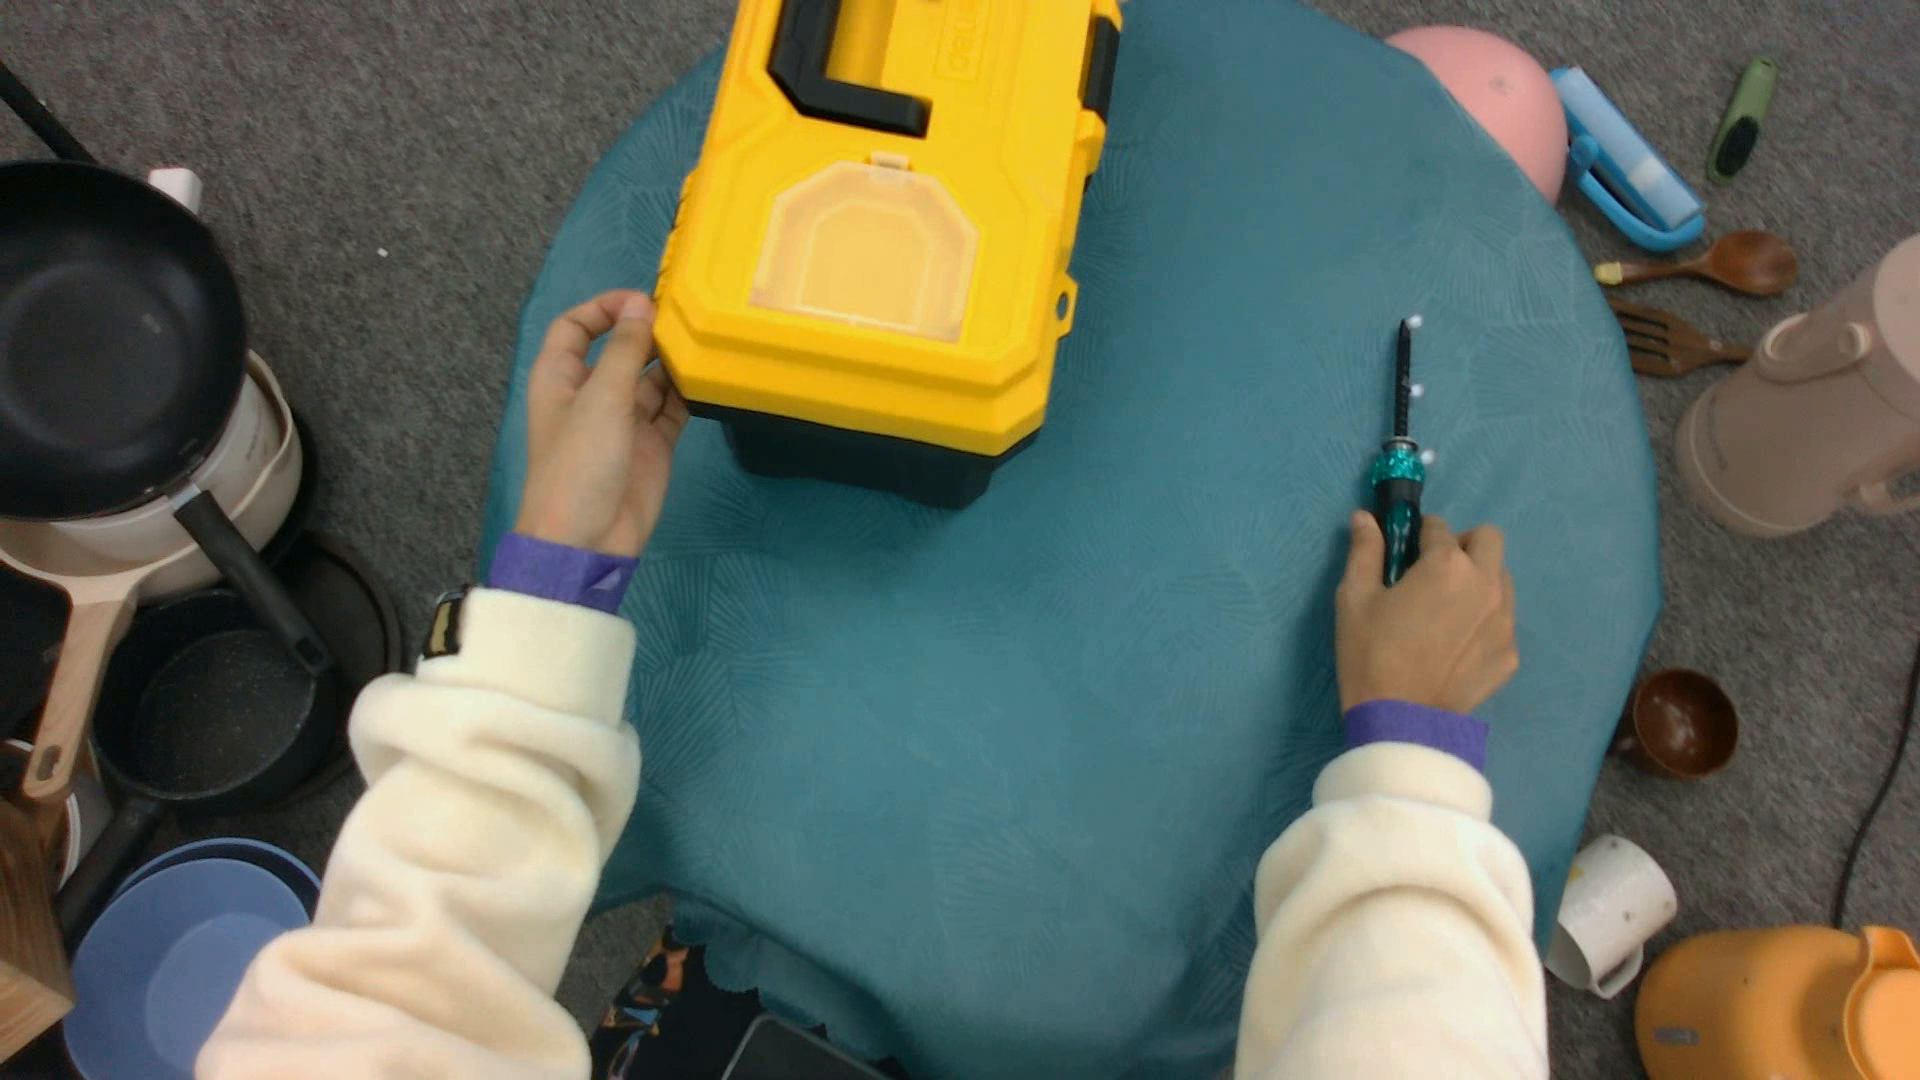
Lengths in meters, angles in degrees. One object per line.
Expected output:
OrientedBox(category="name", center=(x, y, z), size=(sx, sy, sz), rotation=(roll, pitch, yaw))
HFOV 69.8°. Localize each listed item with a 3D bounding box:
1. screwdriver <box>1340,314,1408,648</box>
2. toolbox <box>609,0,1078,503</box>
OrientedBox(category="screwdriver", center=(0.216, -0.036, 0.712), size=(0.034, 0.033, 0.190), rotation=(10, 66, -1))
OrientedBox(category="toolbox", center=(-0.036, -0.201, 0.668), size=(0.181, 0.172, 0.352), rotation=(12, 70, -1))
